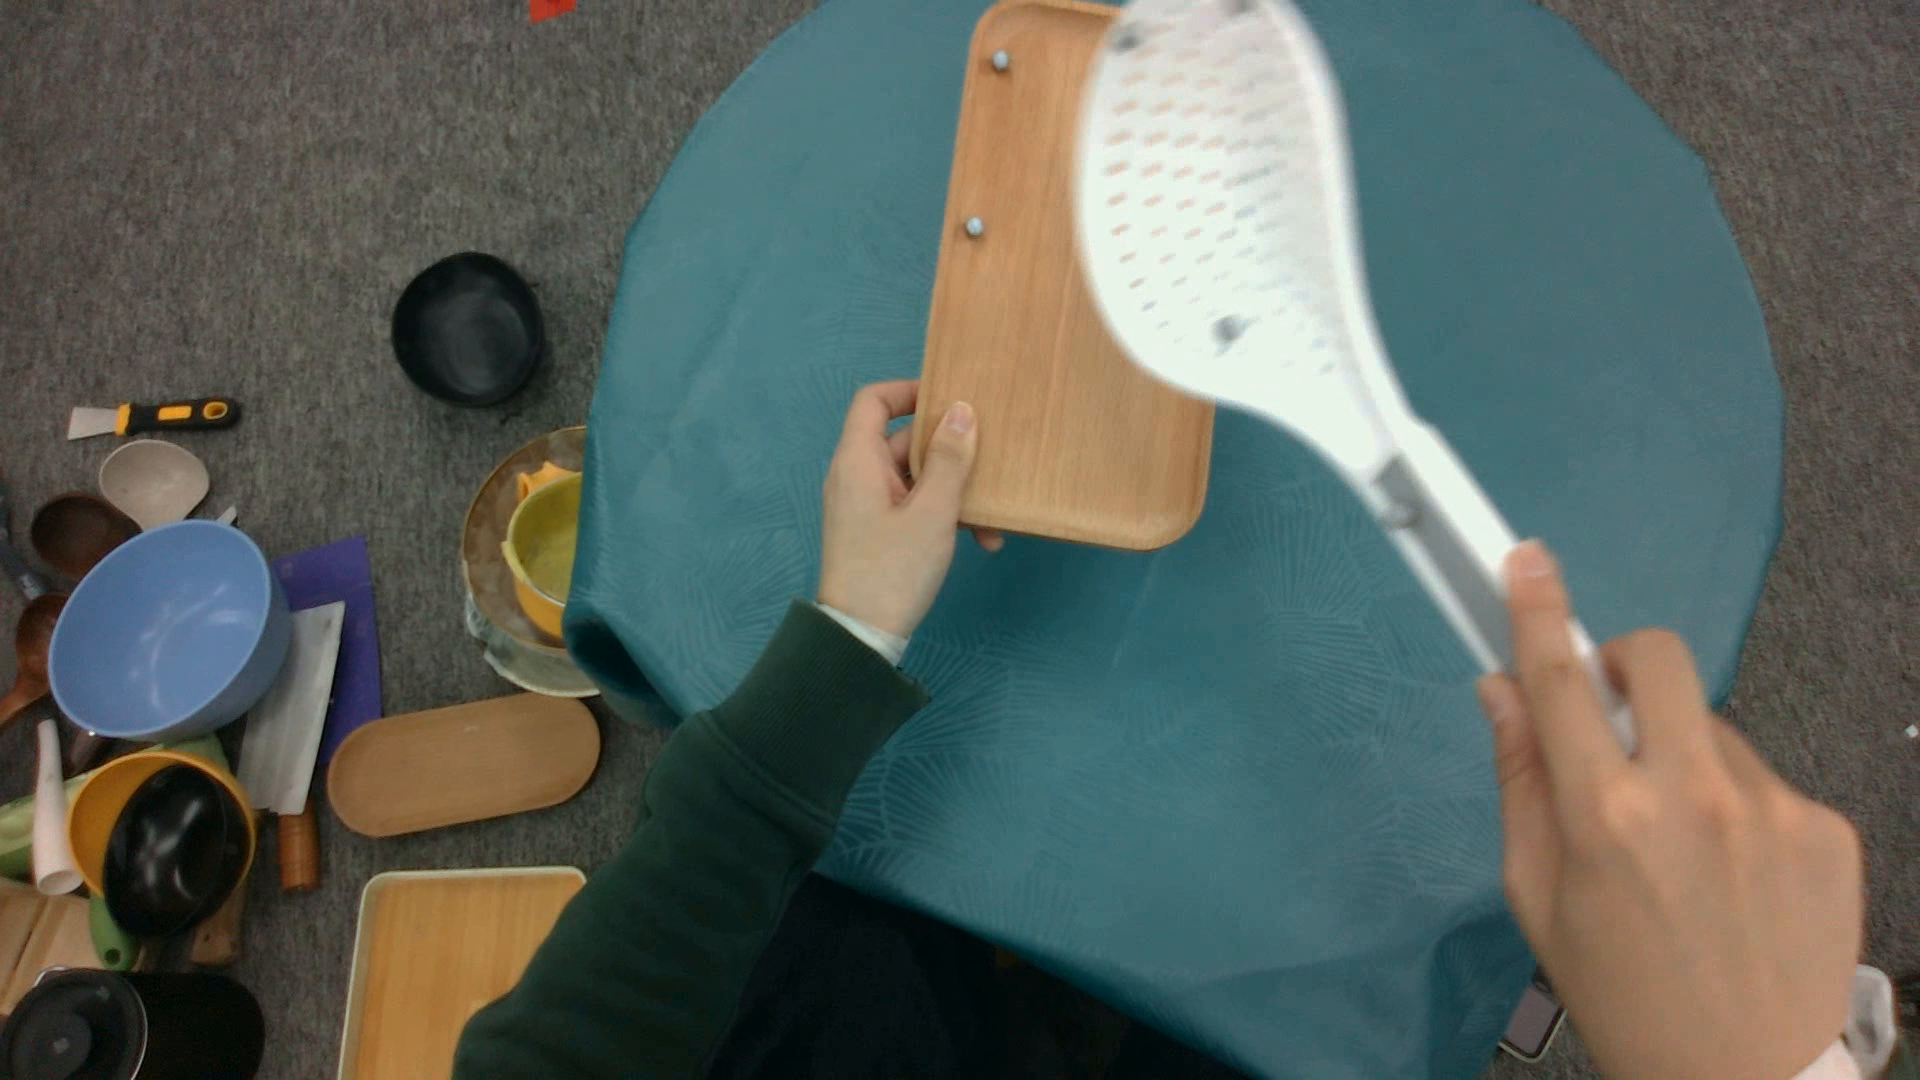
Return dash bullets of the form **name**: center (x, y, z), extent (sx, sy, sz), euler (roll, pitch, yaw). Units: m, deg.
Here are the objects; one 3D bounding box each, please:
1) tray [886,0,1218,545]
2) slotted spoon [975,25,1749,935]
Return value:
- **tray**: center (0.044, -0.122, 0.607), extent (0.130, 0.023, 0.251), euler (8, 75, -2)
- **slotted spoon**: center (0.107, -0.030, 0.434), extent (0.046, 0.135, 0.350), euler (-18, 60, -24)
